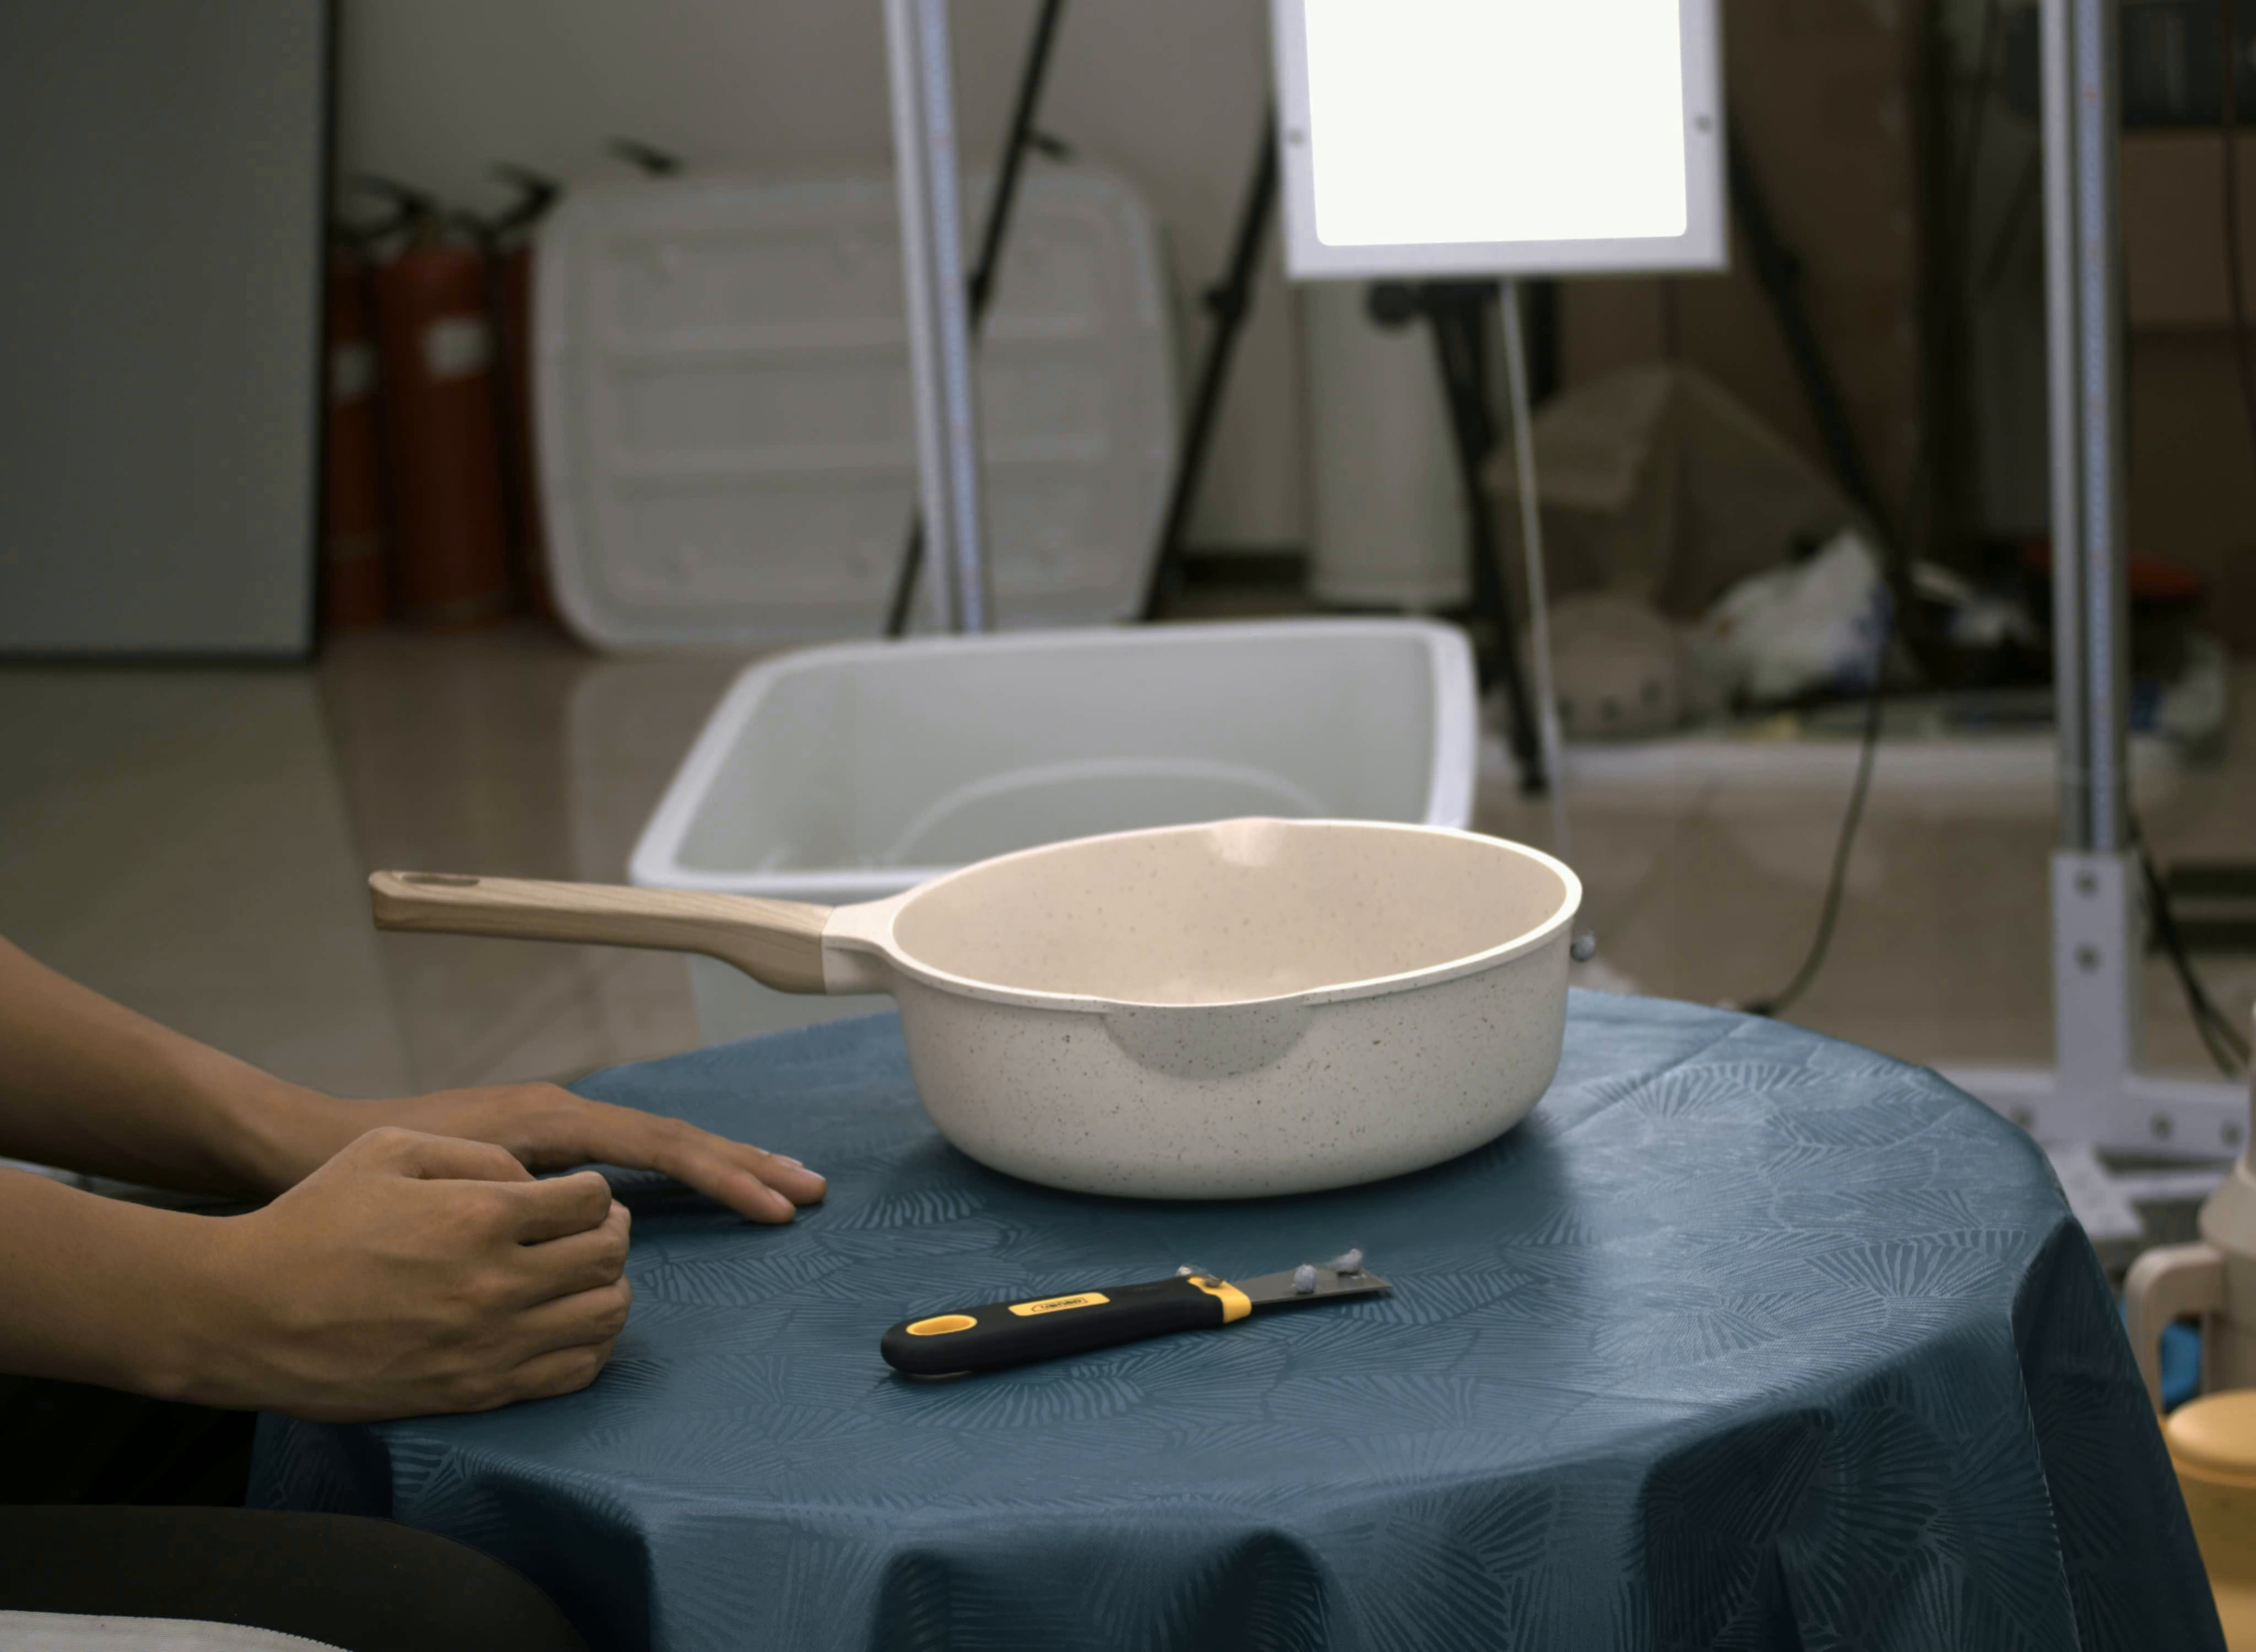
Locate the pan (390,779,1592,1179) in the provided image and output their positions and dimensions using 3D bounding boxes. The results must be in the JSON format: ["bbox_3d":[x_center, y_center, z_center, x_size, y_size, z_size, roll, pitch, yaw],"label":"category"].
[{"bbox_3d":[-0.048,0.055,1.989,0.436,0.102,0.261,-3,16,7],"label":"pan"}]

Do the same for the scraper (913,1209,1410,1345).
[{"bbox_3d":[0.010,0.144,1.763,0.167,0.015,0.039,-8,18,-23],"label":"scraper"}]
